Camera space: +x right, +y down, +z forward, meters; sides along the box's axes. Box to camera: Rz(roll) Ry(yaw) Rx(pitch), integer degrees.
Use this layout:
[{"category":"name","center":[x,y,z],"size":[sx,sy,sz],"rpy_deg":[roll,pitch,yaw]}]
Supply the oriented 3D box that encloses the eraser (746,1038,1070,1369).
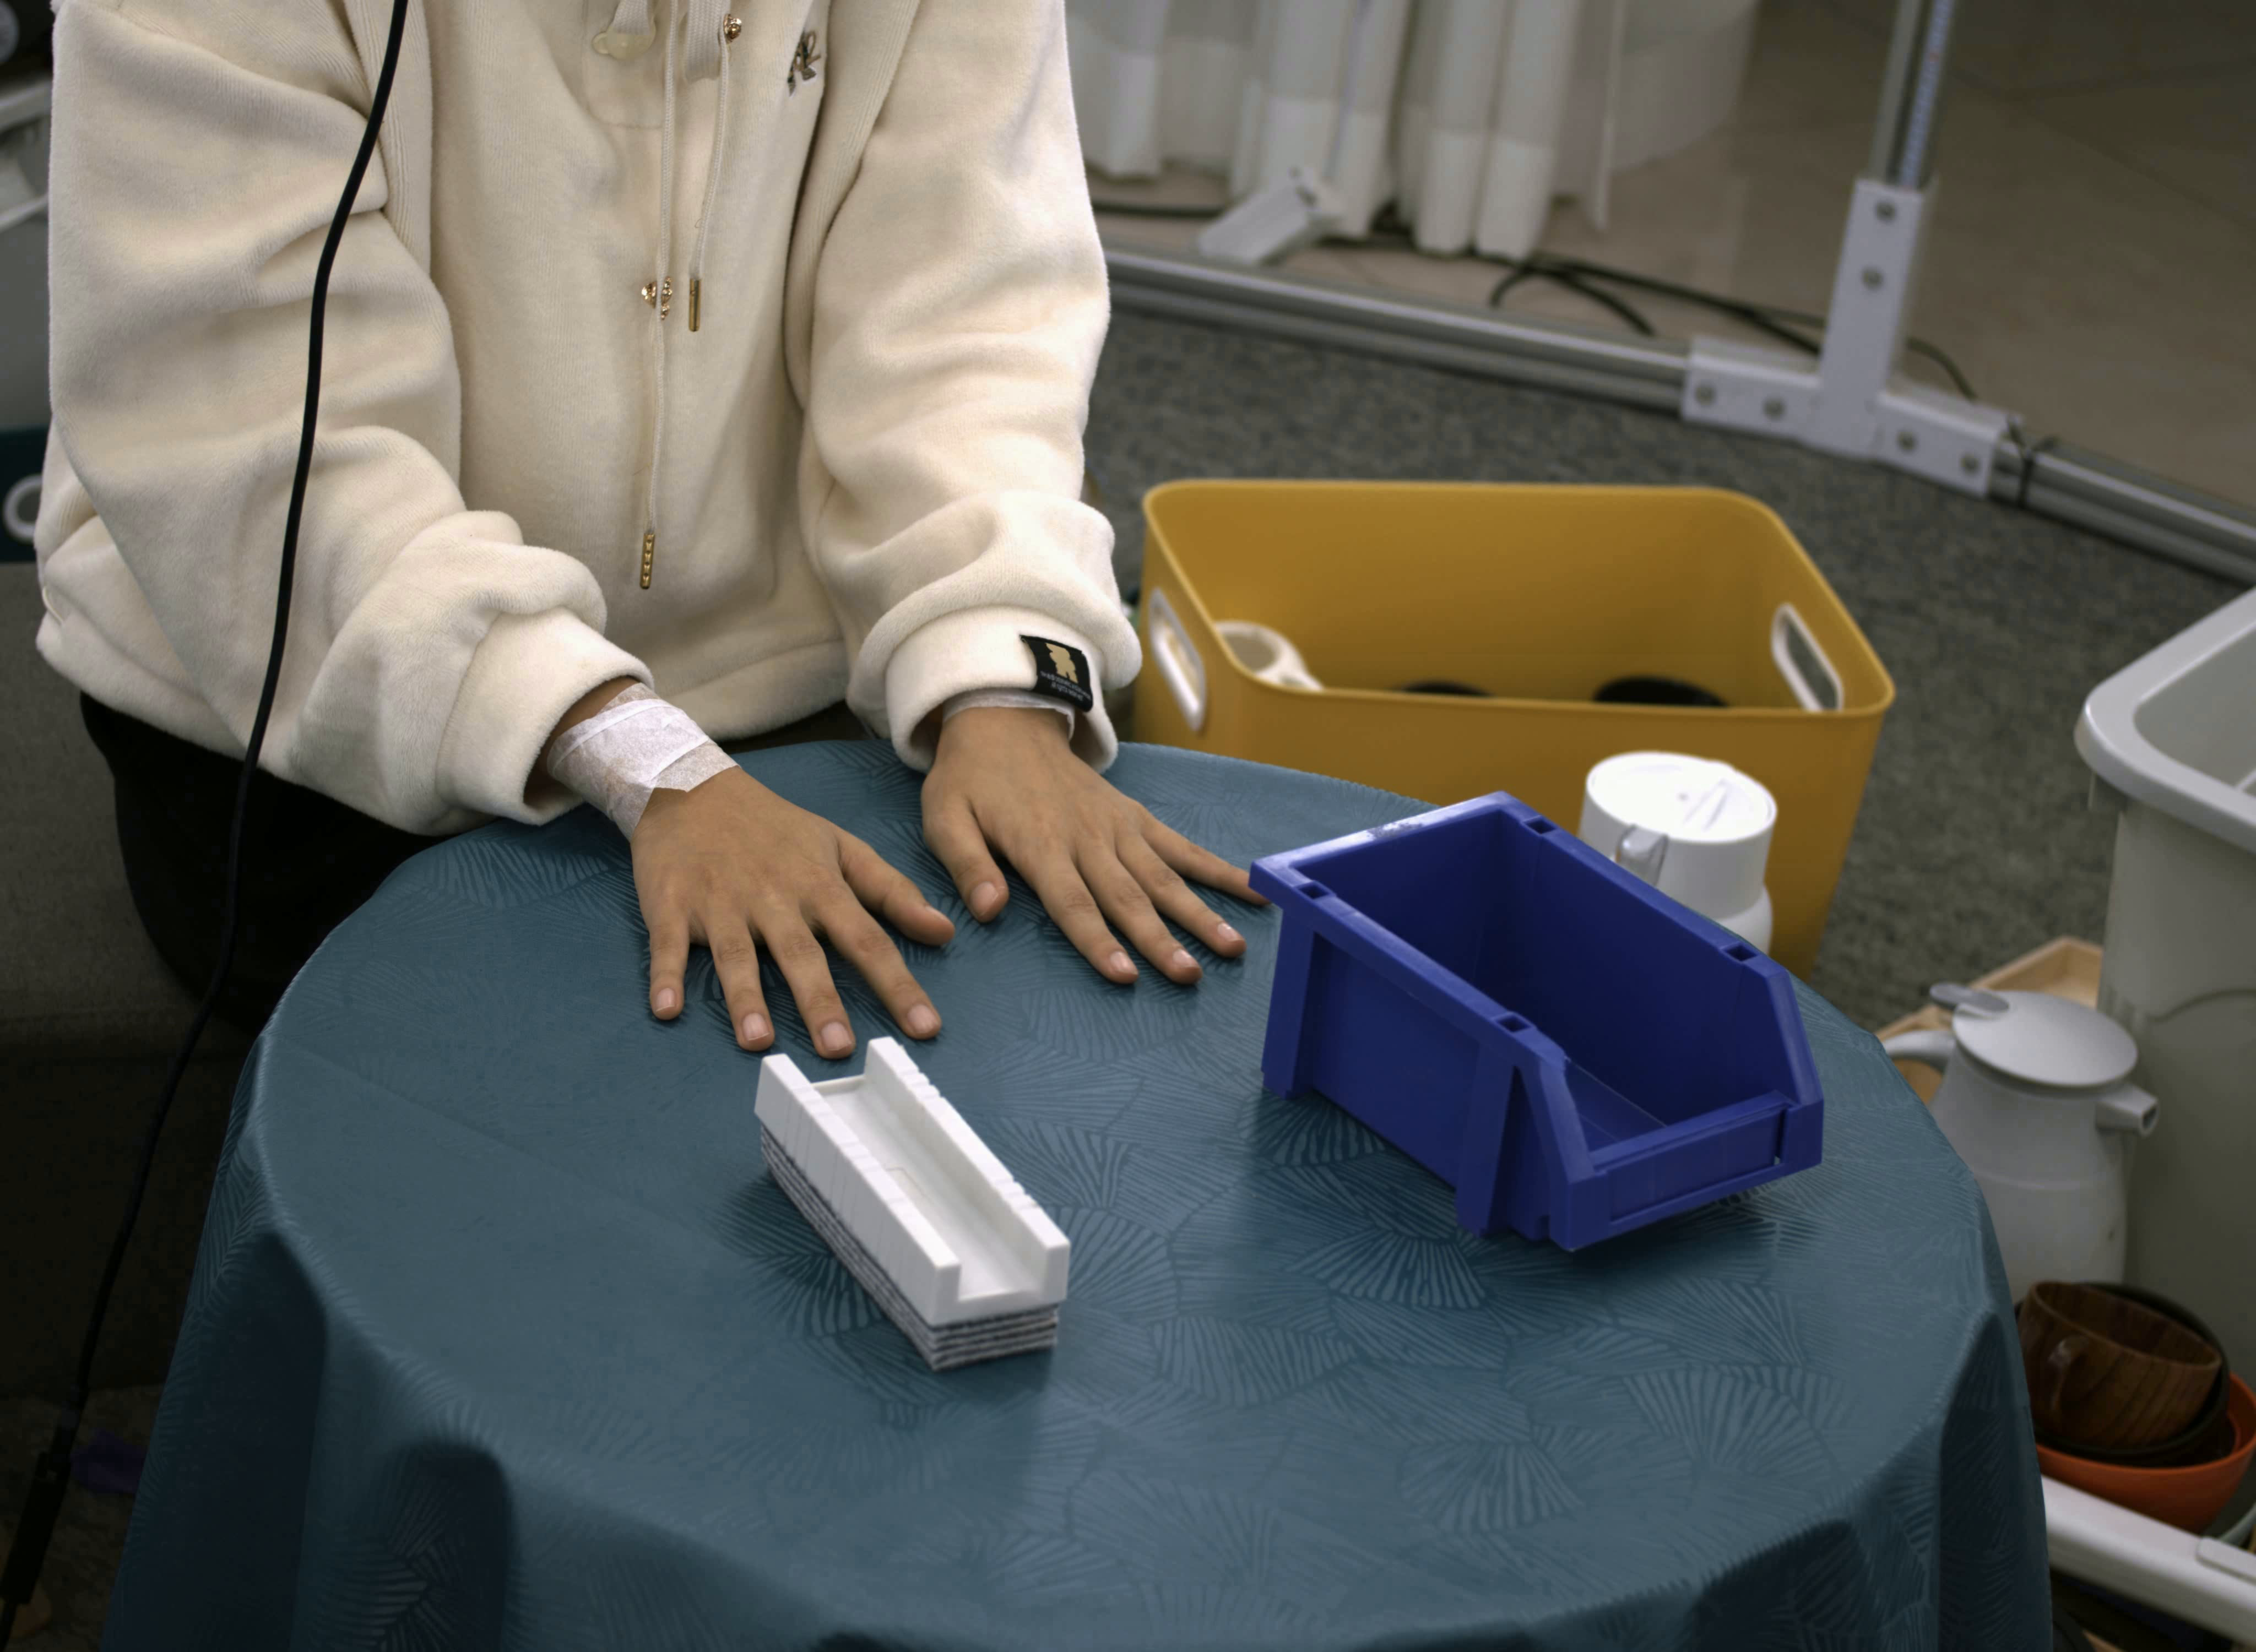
[{"category":"eraser","center":[-0.074,0.122,1.736],"size":[0.049,0.046,0.135],"rpy_deg":[-12,33,-28]}]

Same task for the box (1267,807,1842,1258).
[{"category":"box","center":[0.147,0.075,1.840],"size":[0.124,0.081,0.181],"rpy_deg":[-13,31,-34]}]
